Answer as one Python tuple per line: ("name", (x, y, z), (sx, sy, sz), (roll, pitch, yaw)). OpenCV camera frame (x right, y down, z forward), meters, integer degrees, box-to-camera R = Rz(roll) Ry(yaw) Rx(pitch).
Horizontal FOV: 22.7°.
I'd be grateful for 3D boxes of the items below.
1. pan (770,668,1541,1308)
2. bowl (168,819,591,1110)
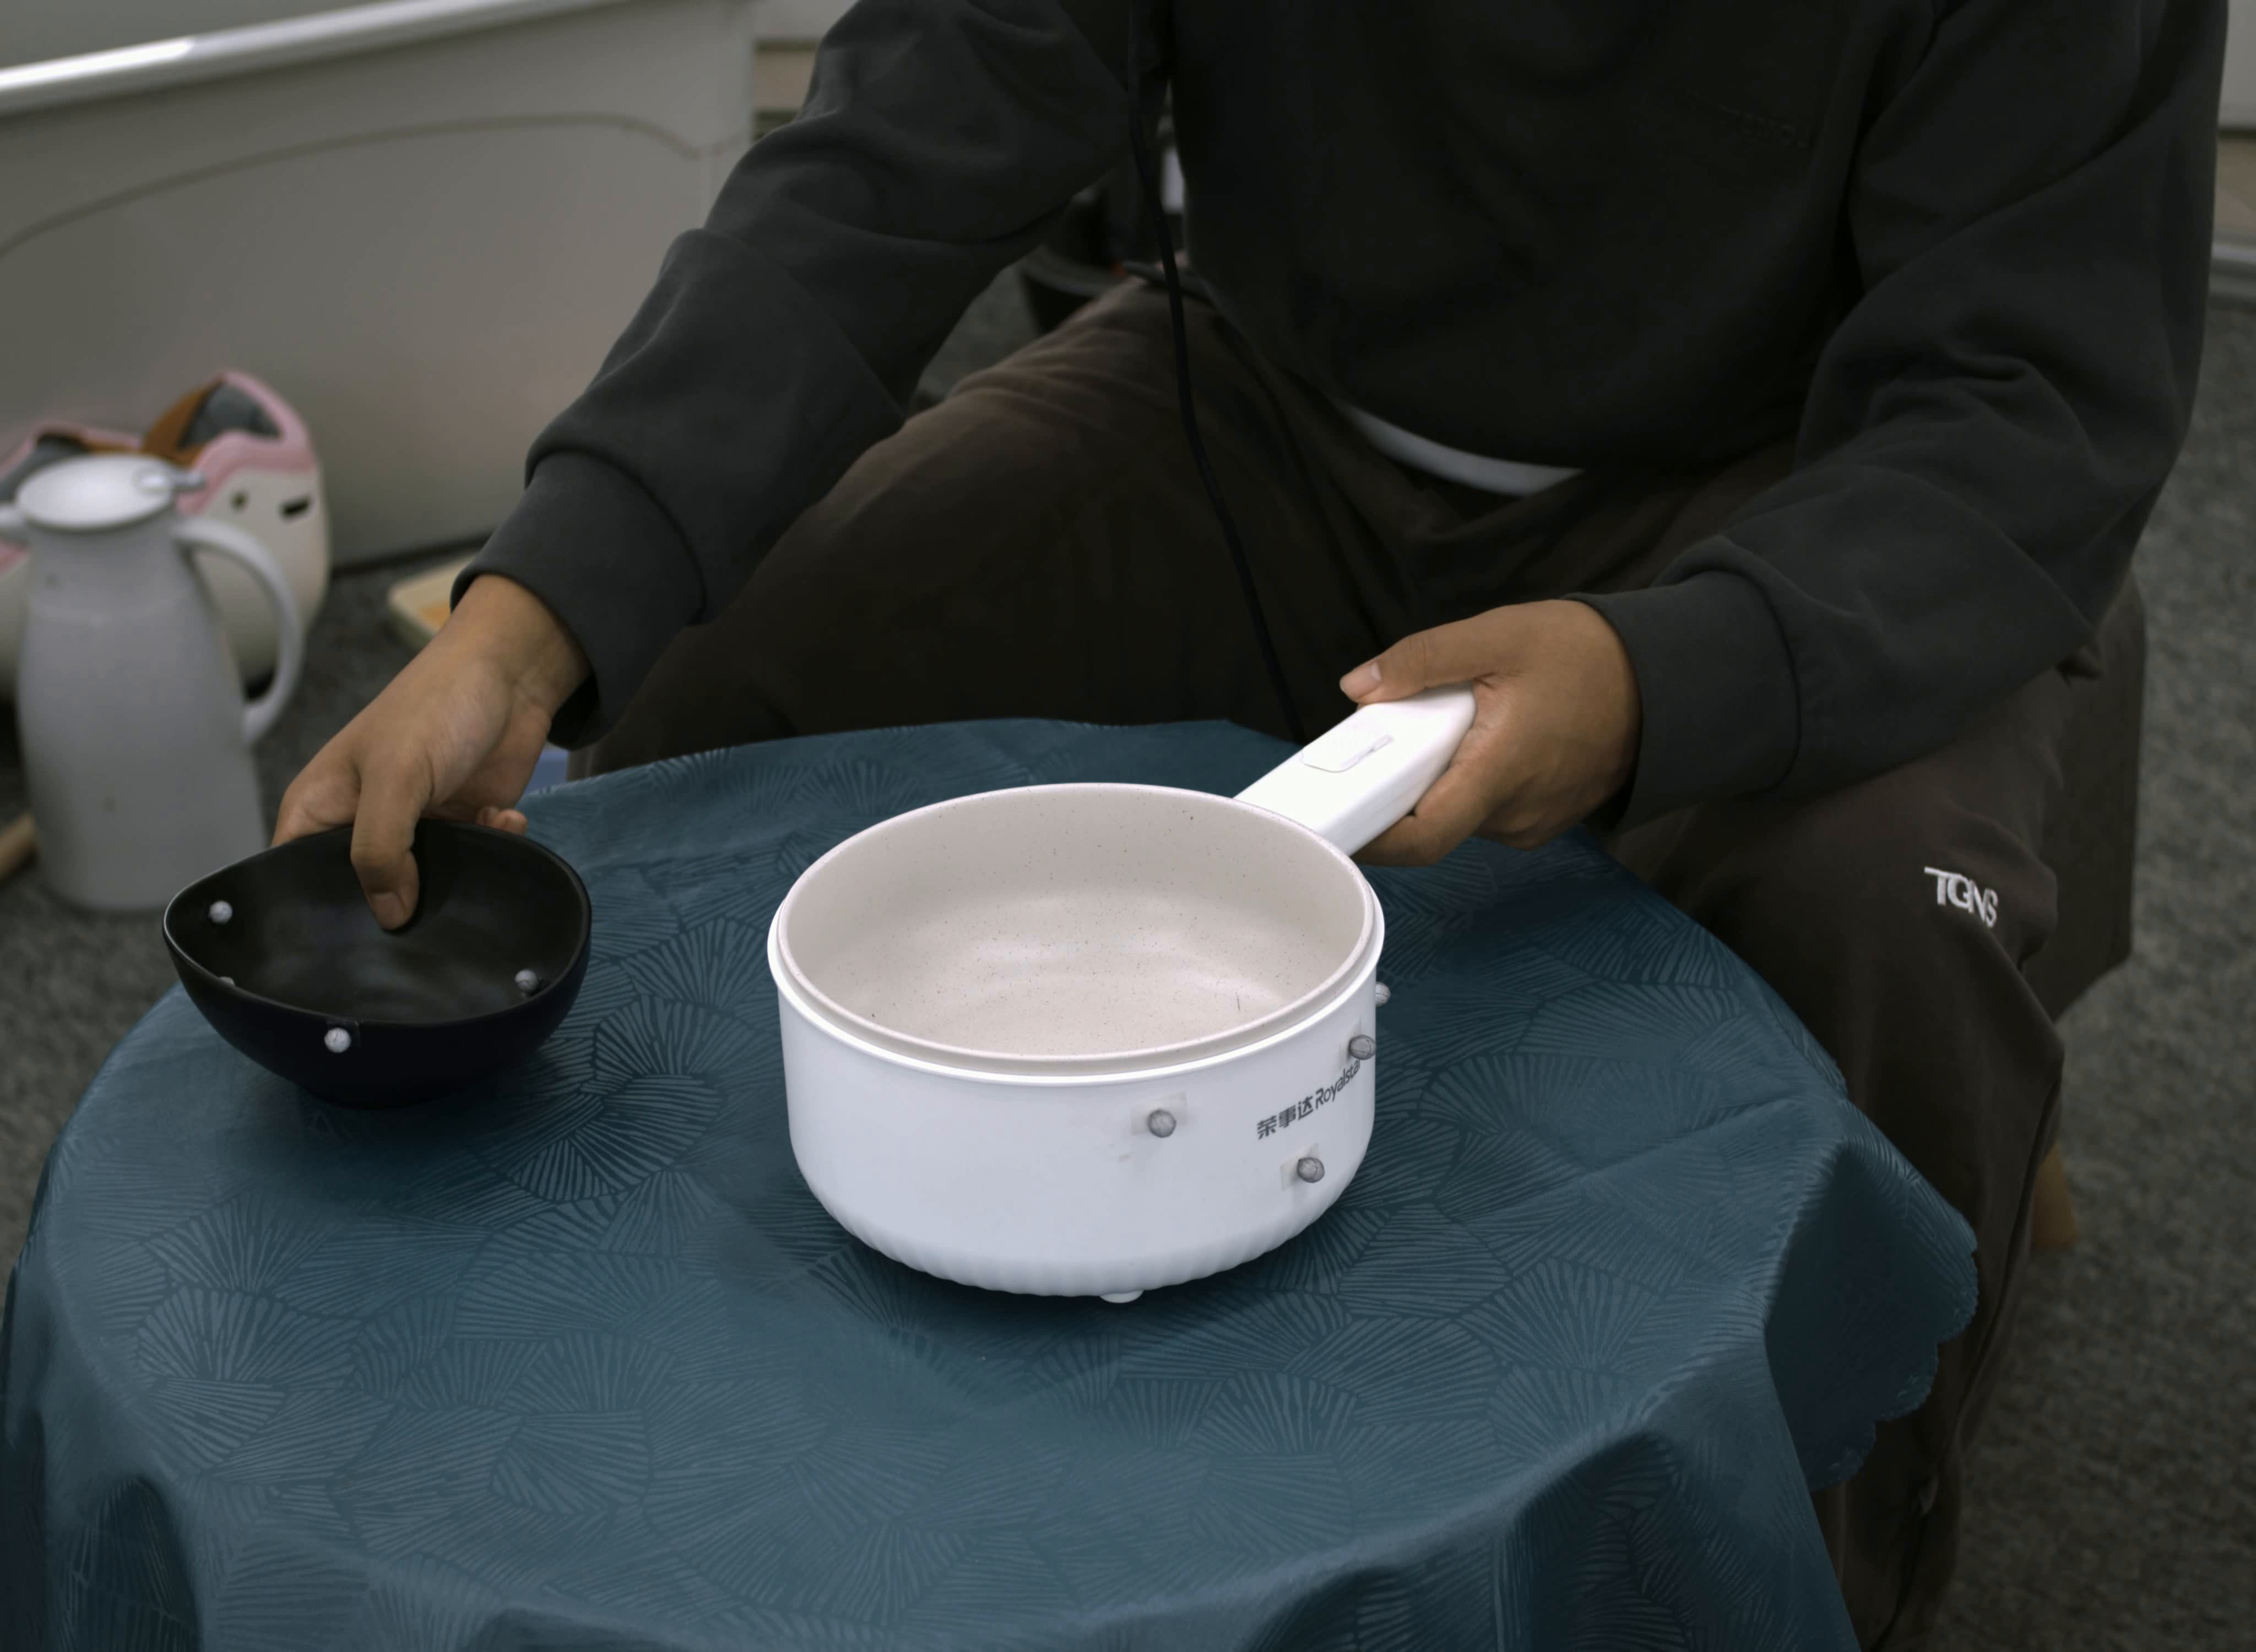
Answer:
("pan", (0.029, 0.050, 1.907), (0.200, 0.101, 0.360), (14, 28, 33))
("bowl", (-0.258, 0.056, 1.944), (0.139, 0.066, 0.170), (-24, 33, -37))
